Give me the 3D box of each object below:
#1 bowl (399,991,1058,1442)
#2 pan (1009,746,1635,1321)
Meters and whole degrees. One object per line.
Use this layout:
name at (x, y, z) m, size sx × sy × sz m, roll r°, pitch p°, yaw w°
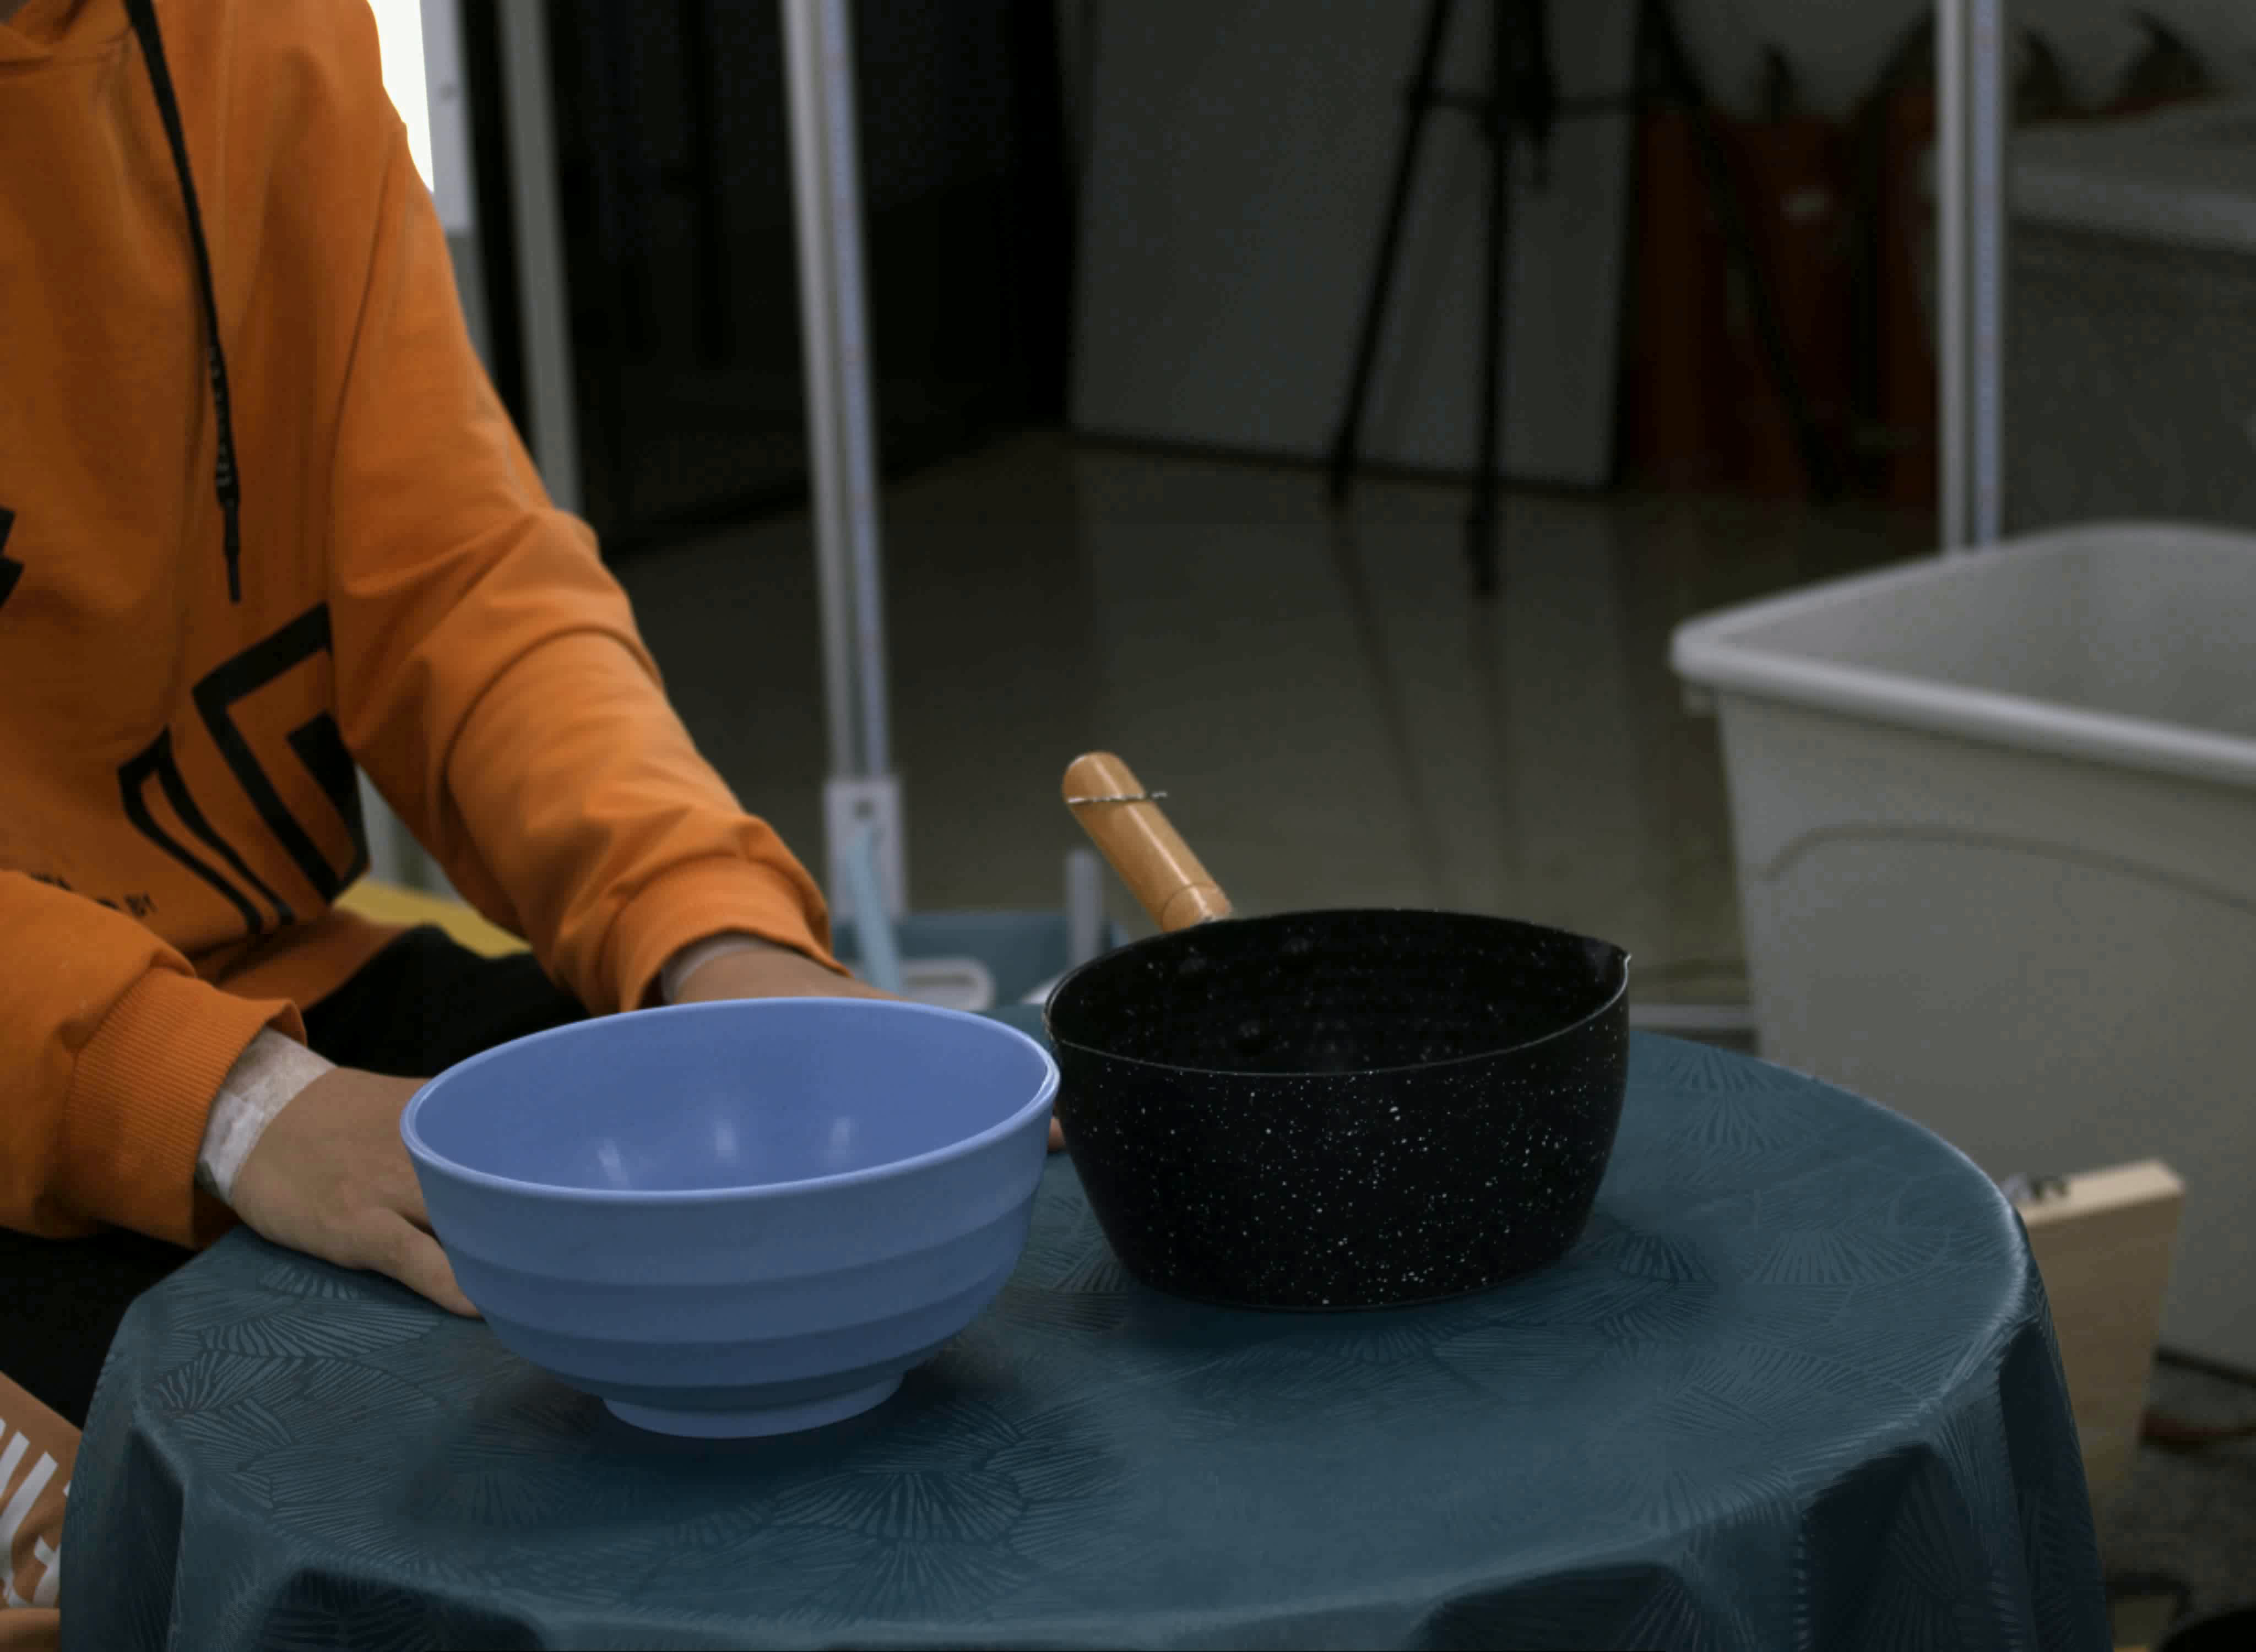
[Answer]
bowl at (-0.114, 0.121, 1.602) m, size 0.194 × 0.096 × 0.197 m, roll -4°, pitch 15°, yaw 0°
pan at (0.042, 0.062, 1.771) m, size 0.203 × 0.109 × 0.346 m, roll -10°, pitch 16°, yaw -16°
